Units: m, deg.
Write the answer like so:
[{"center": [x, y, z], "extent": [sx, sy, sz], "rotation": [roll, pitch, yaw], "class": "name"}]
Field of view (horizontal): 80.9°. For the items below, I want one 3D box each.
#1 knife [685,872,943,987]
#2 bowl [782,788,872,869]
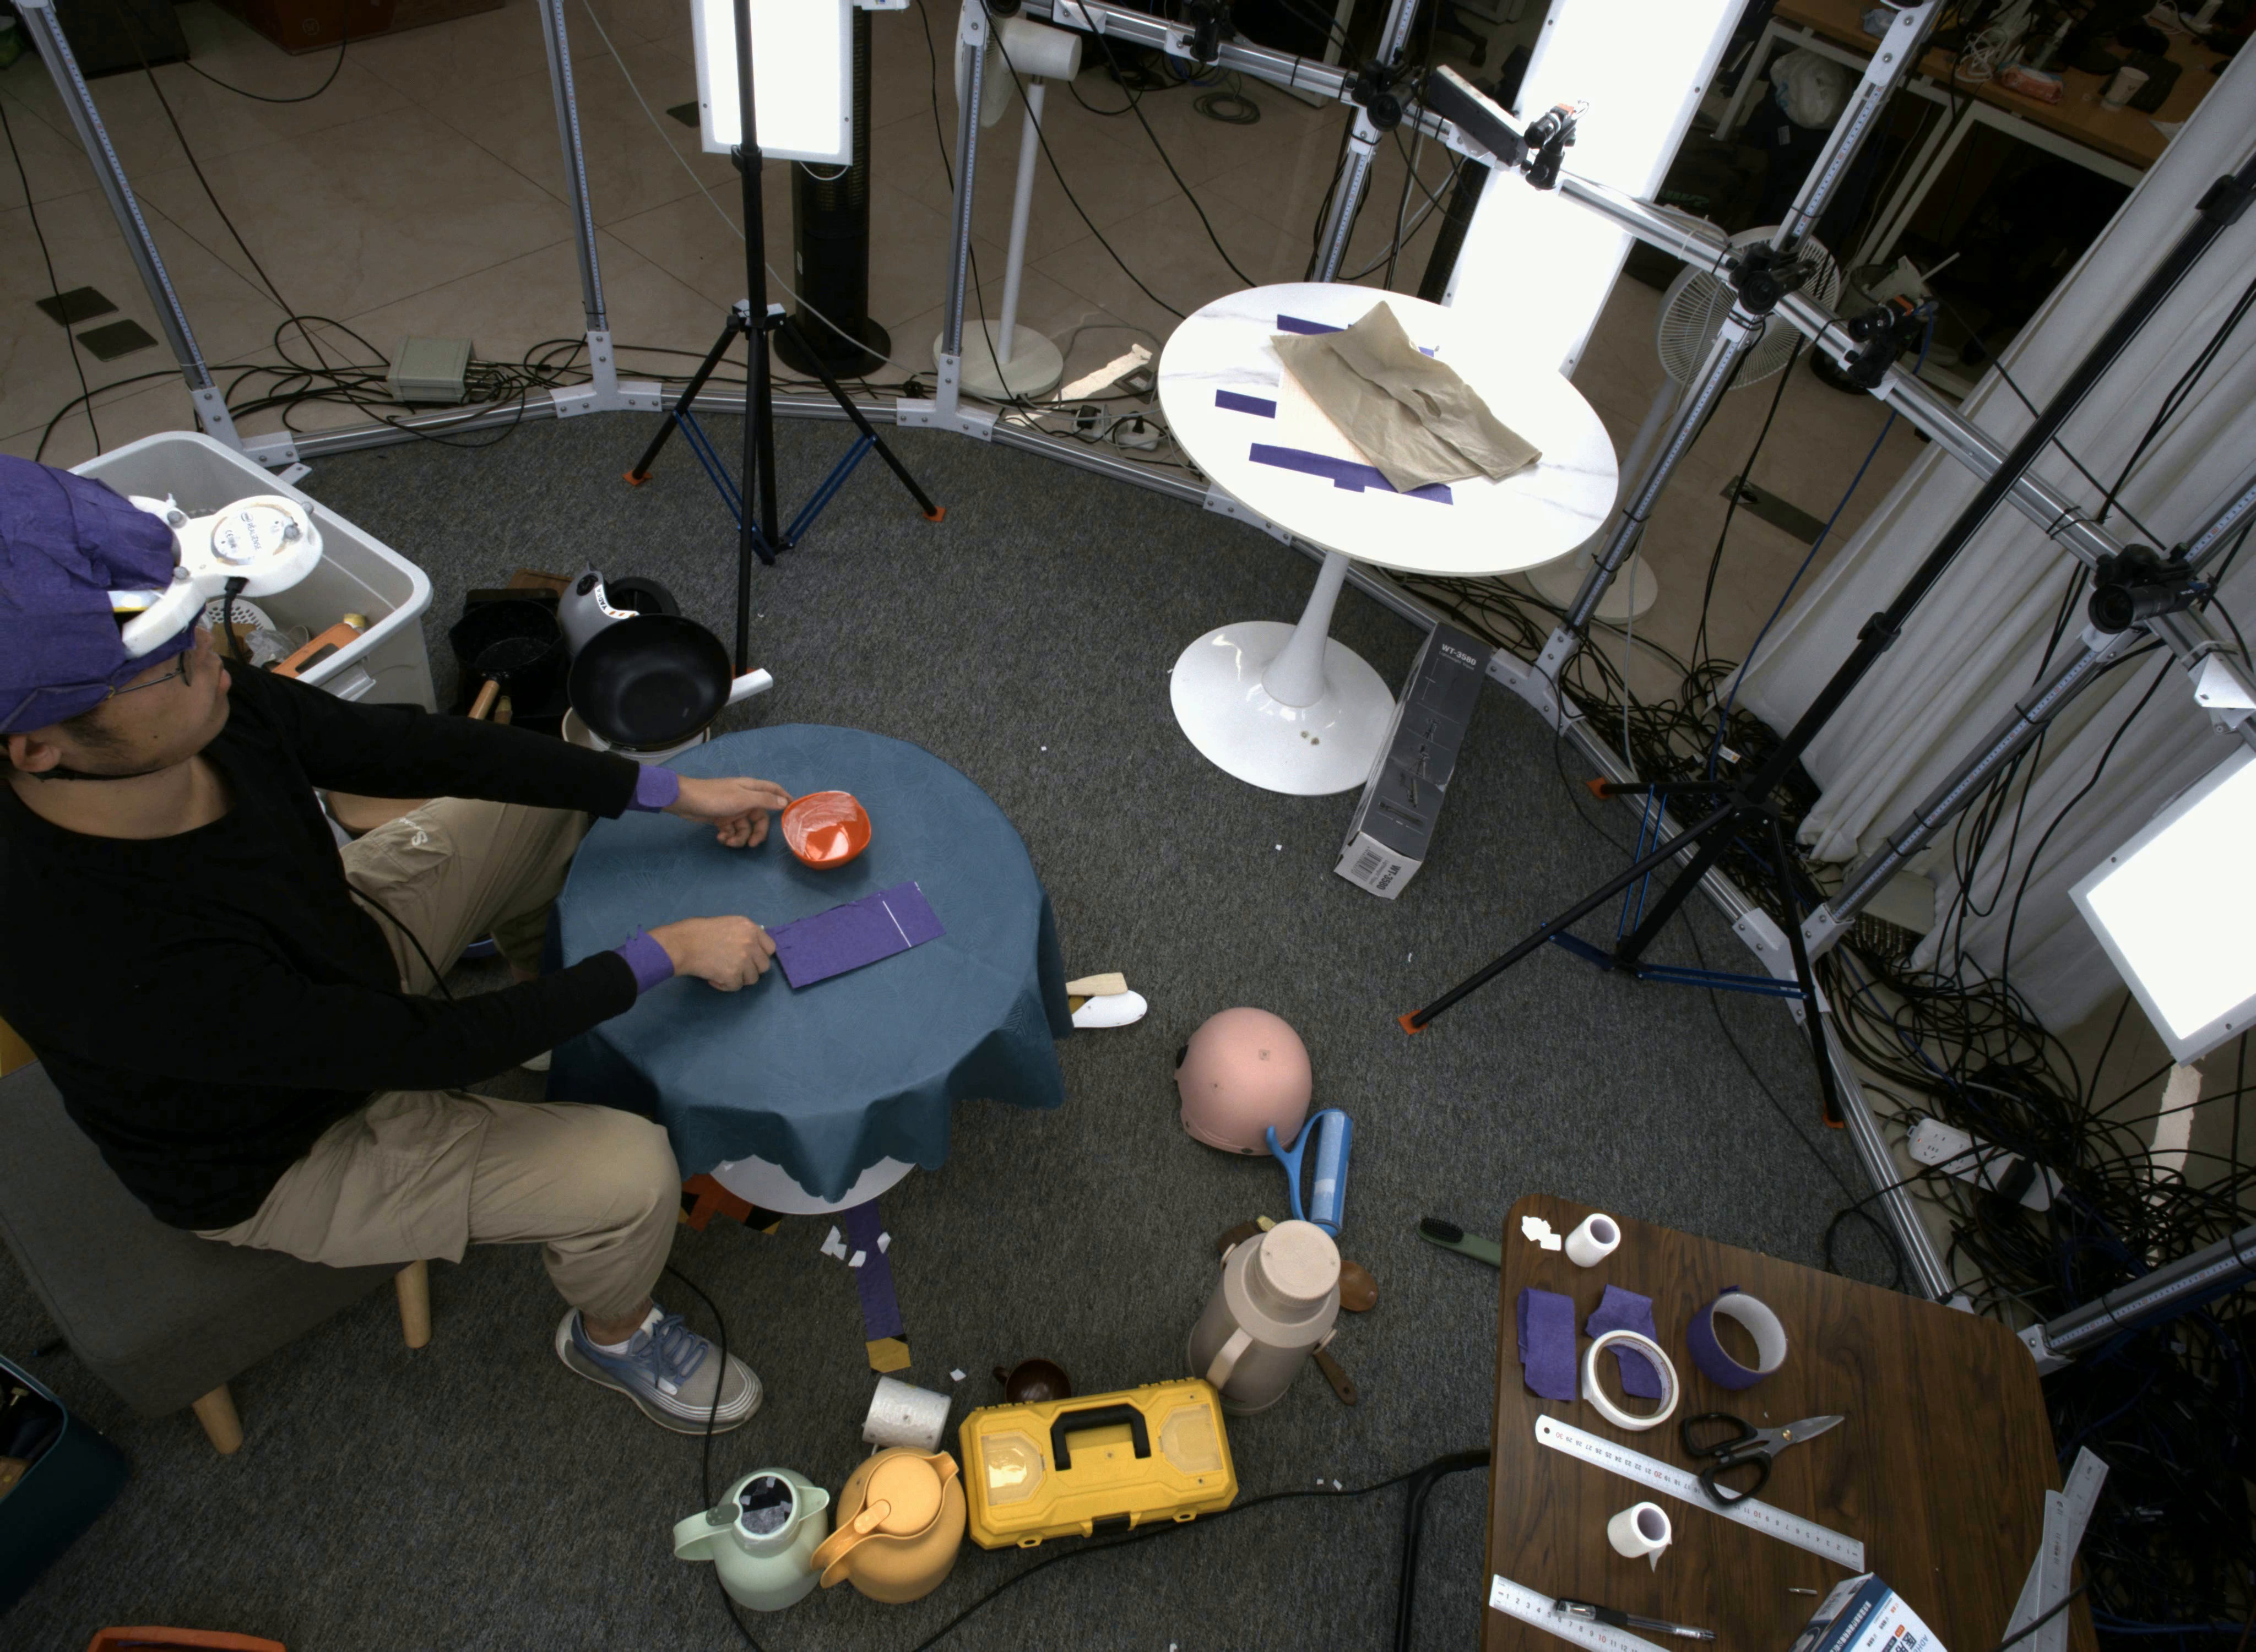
[{"center": [-0.383, 0.143, 1.608], "extent": [0.317, 0.033, 0.101], "rotation": [-21, 61, -28], "class": "knife"}, {"center": [-0.392, 0.010, 1.685], "extent": [0.119, 0.052, 0.117], "rotation": [10, 51, -11], "class": "bowl"}]
